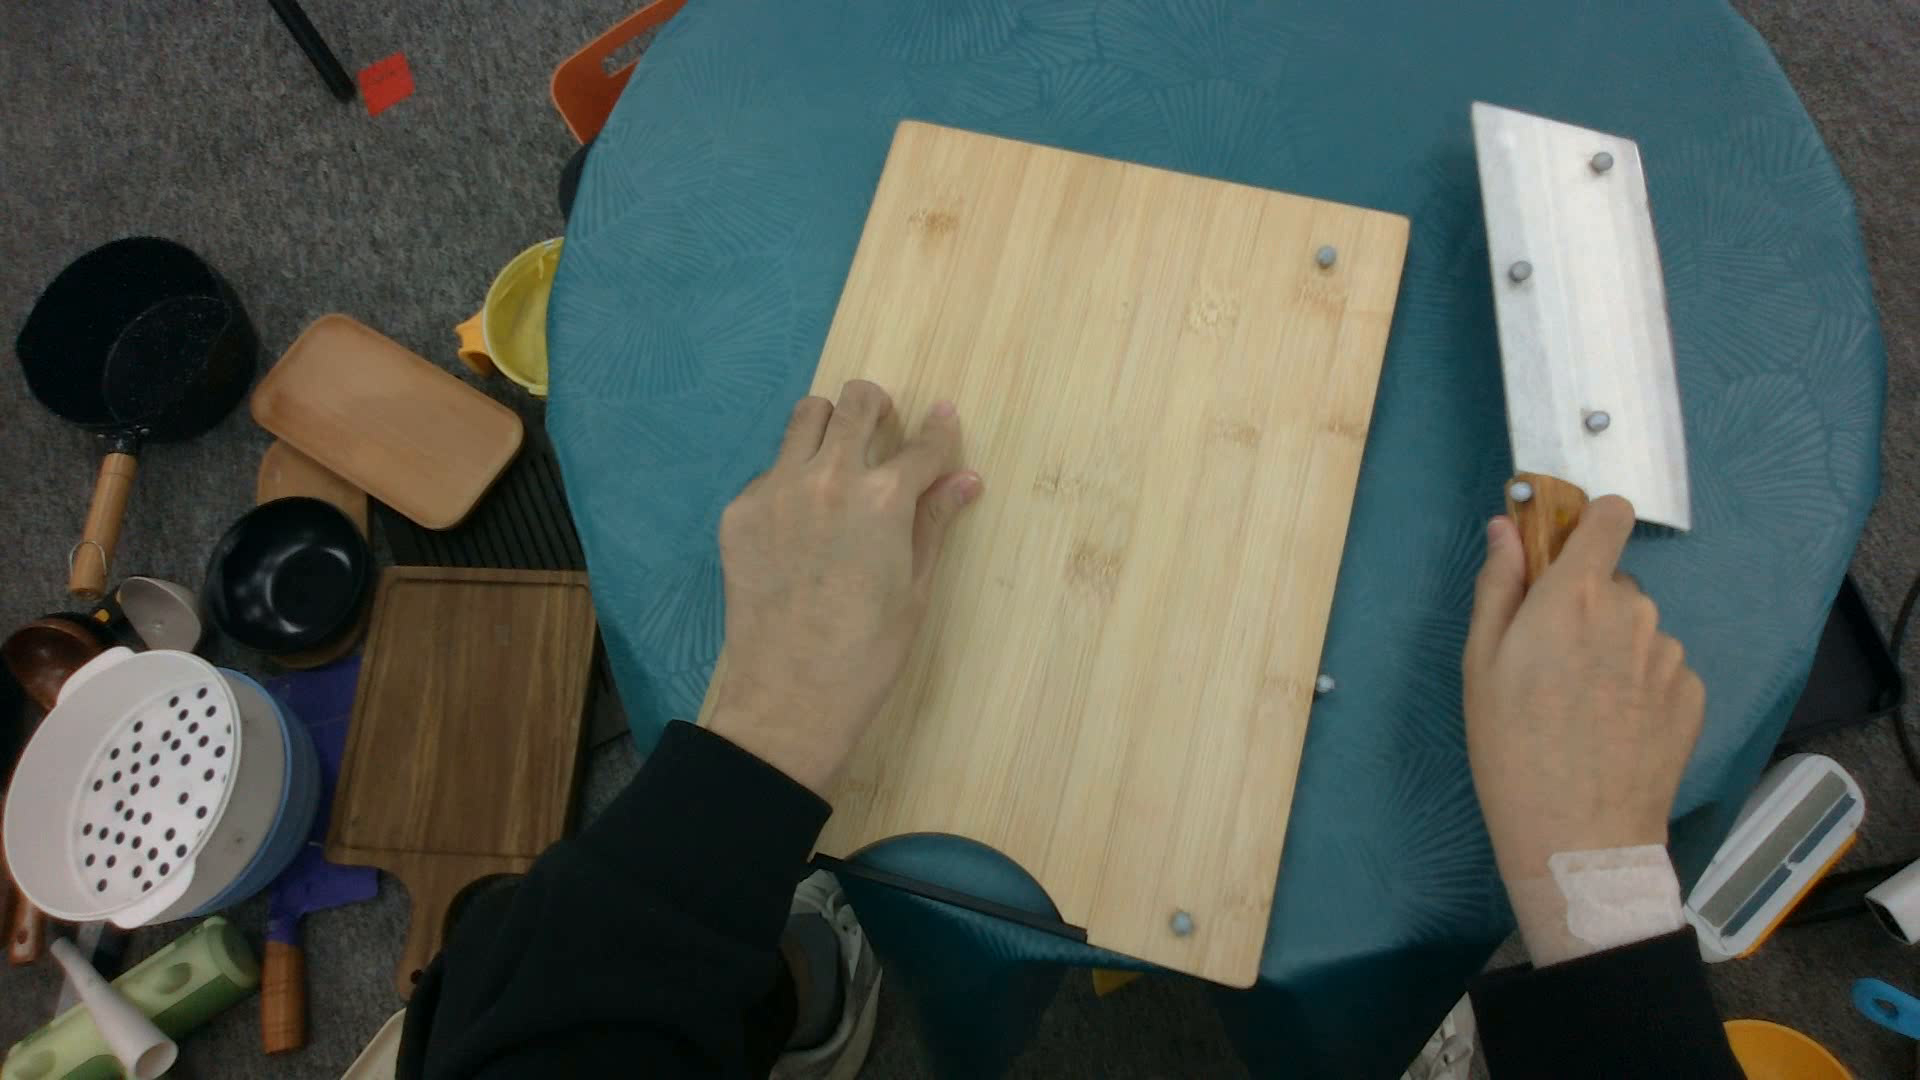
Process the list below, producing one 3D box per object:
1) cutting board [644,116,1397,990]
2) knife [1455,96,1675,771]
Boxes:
[{"bbox_3d":[0.035,-0.013,0.594,0.250,0.023,0.349,12,73,9],"label":"cutting board"},{"bbox_3d":[0.258,-0.054,0.577,0.093,0.021,0.306,8,69,-18],"label":"knife"}]
